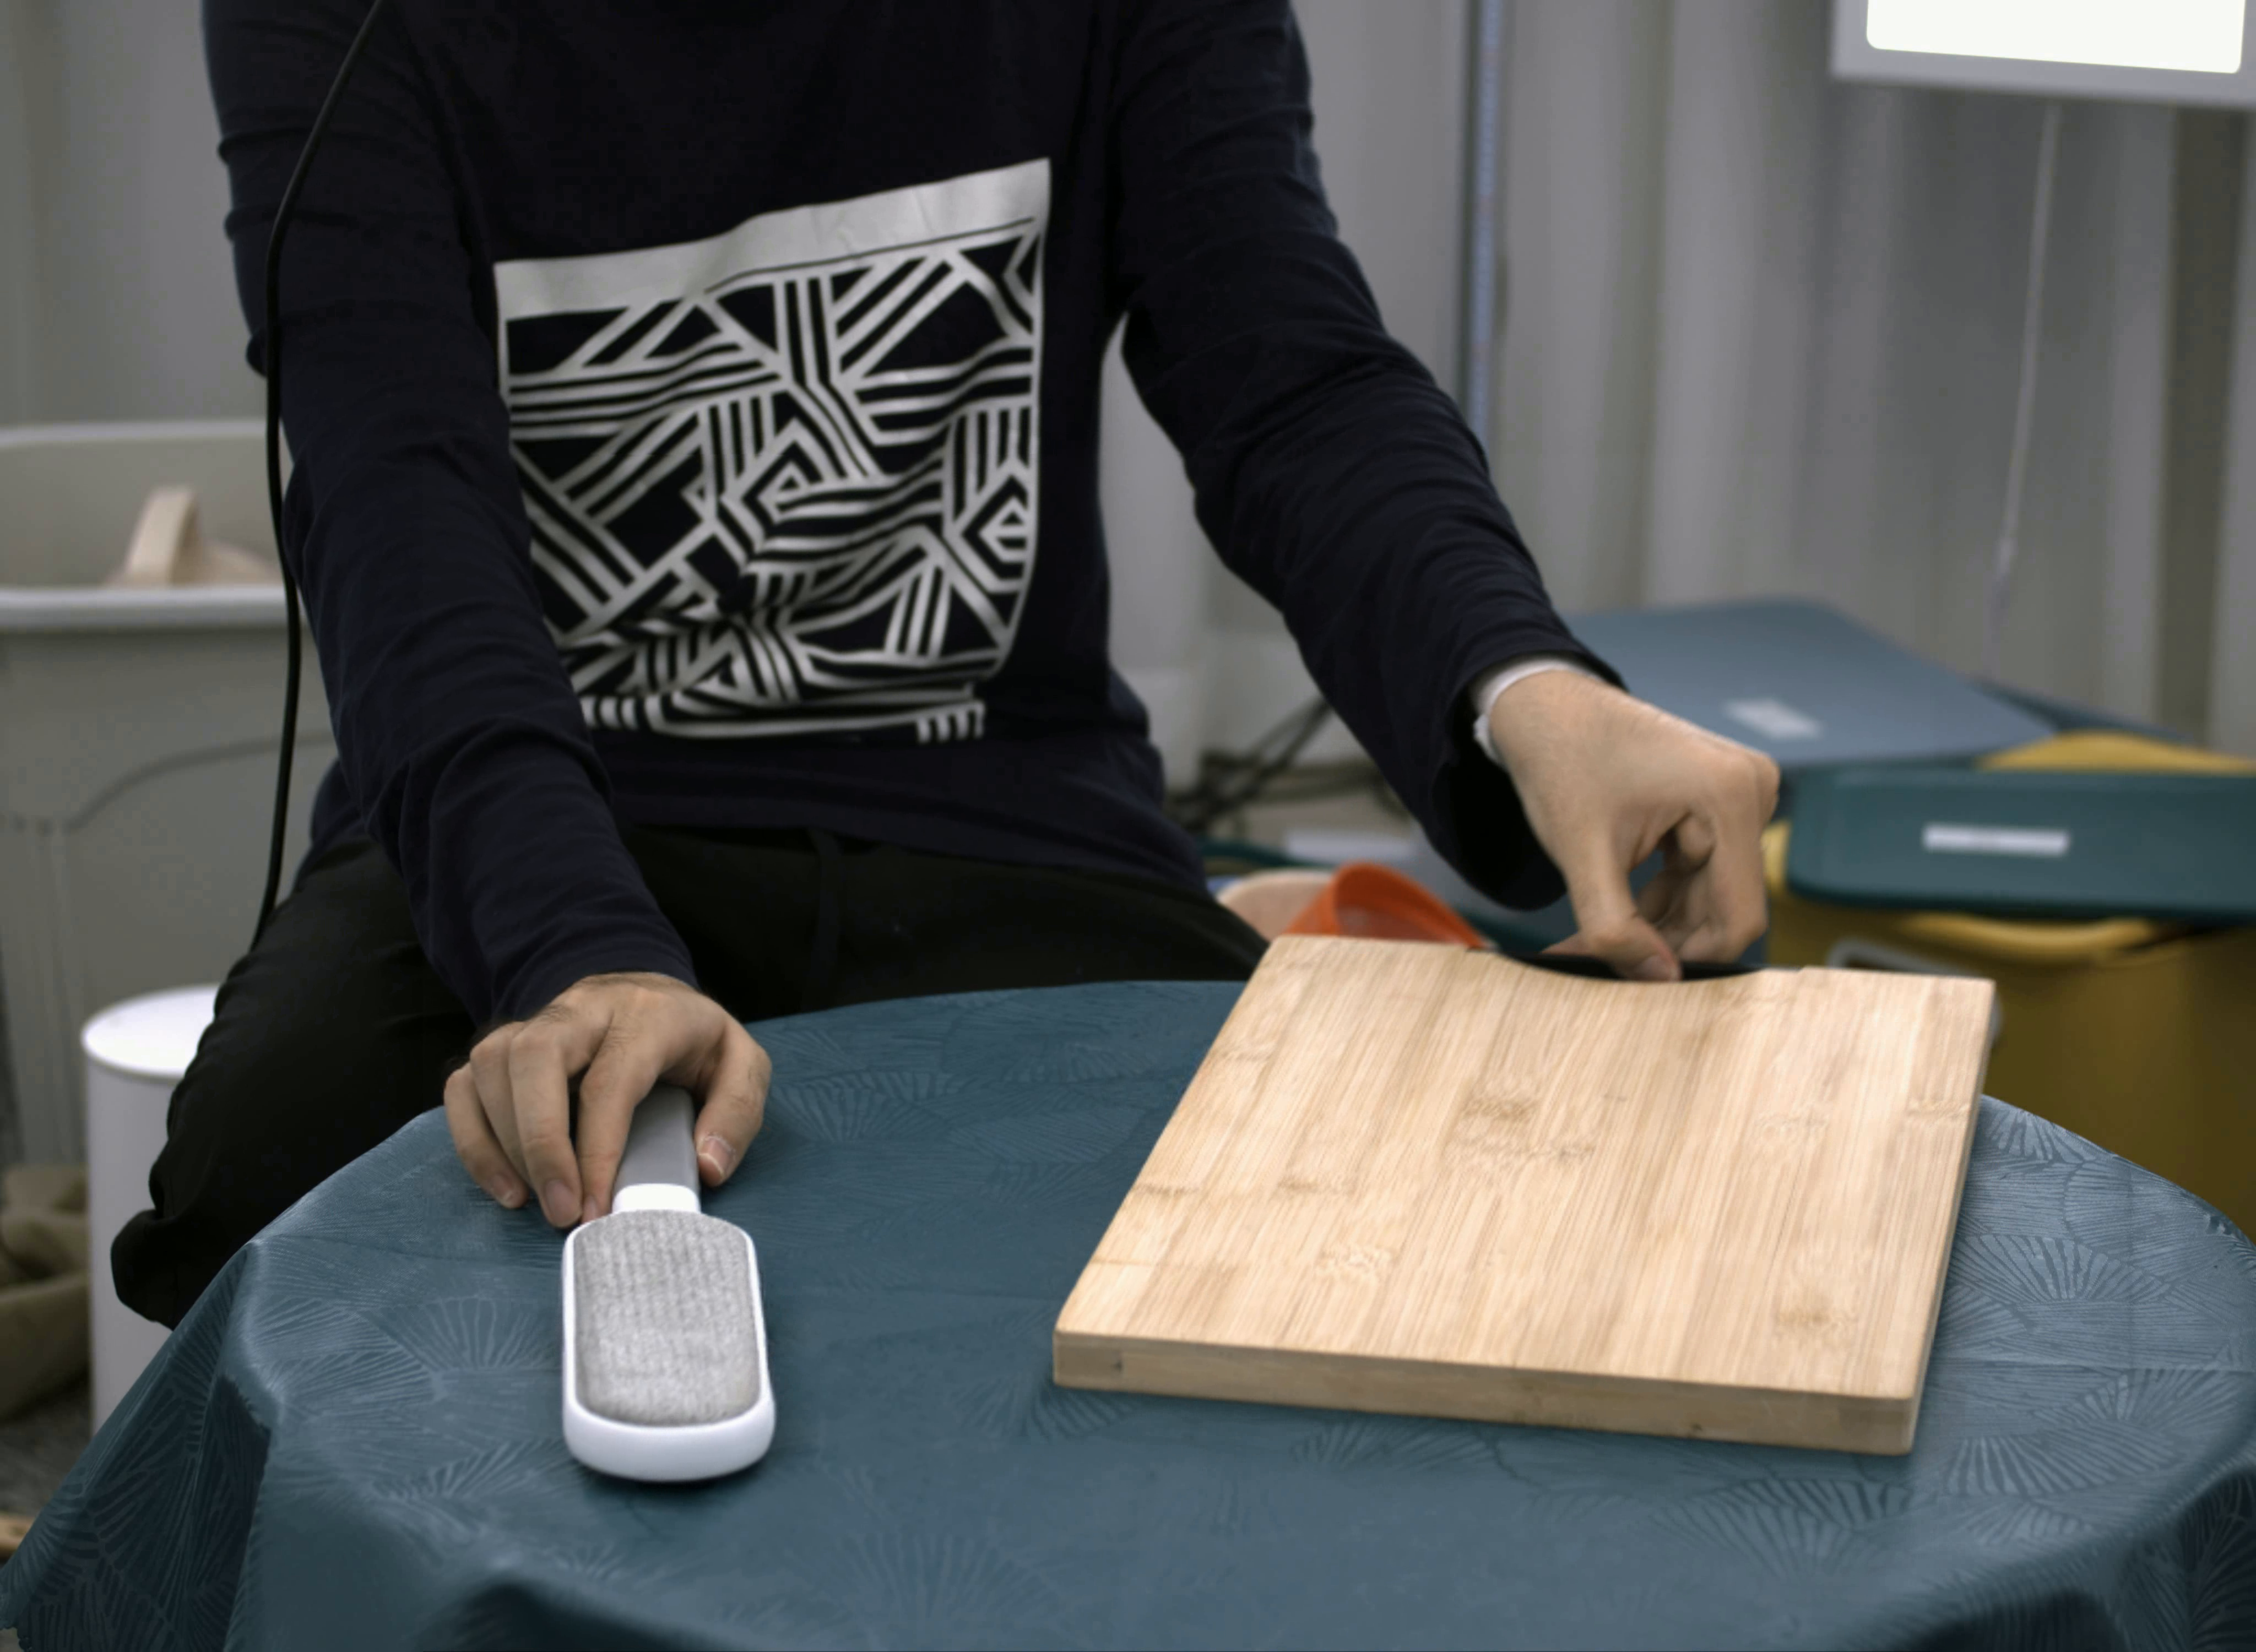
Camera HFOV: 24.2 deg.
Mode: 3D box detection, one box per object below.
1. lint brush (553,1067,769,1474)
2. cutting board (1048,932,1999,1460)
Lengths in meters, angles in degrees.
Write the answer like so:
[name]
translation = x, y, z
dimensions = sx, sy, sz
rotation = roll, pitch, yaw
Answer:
[lint brush]
translation = -0.135, 0.124, 1.525
dimensions = 0.060, 0.021, 0.306
rotation = -4, 16, -4
[cutting board]
translation = 0.132, 0.104, 1.601
dimensions = 0.249, 0.024, 0.348
rotation = 4, 19, 10
